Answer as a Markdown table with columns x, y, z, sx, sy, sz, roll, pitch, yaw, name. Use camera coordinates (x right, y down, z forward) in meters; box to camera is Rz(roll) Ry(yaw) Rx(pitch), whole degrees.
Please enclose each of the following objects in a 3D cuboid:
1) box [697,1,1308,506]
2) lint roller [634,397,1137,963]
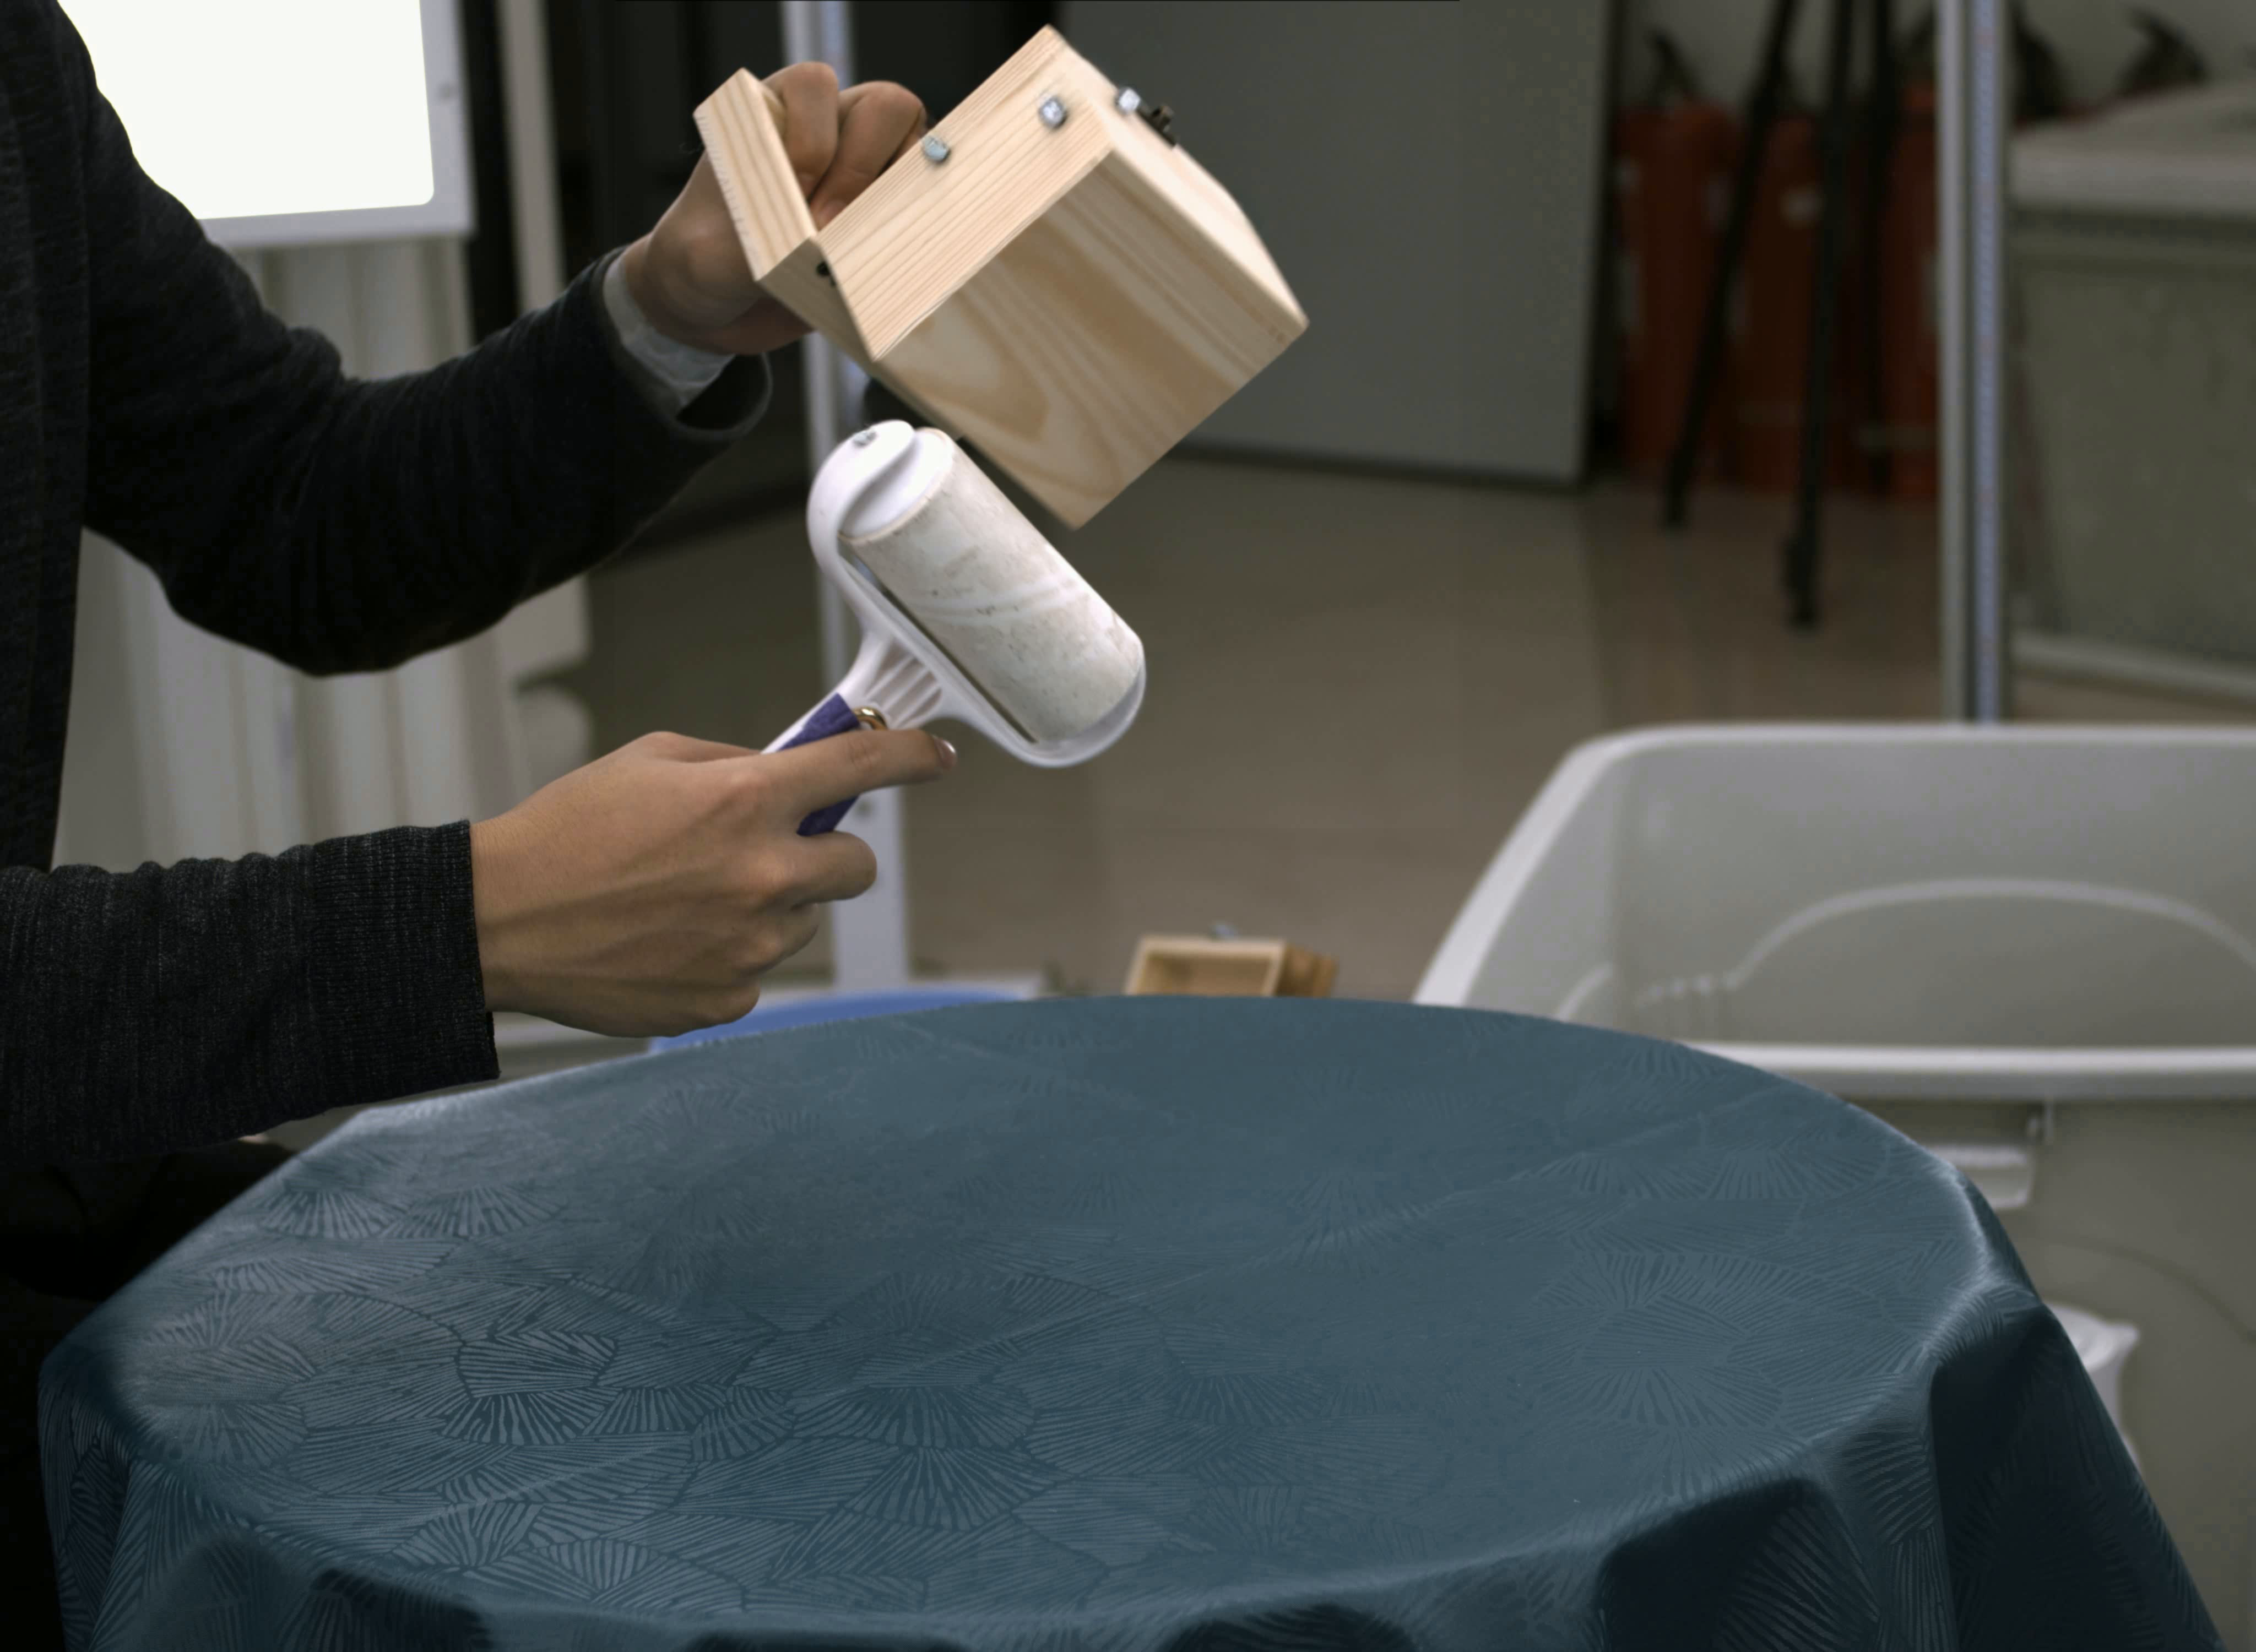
| x | y | z | sx | sy | sz | roll | pitch | yaw | name |
| --- | --- | --- | --- | --- | --- | --- | --- | --- | --- |
| -0.042 | -0.205 | 1.740 | 0.134 | 0.101 | 0.186 | -42 | 38 | 13 | box |
| -0.086 | -0.030 | 1.651 | 0.180 | 0.131 | 0.051 | -52 | 31 | -13 | lint roller |
